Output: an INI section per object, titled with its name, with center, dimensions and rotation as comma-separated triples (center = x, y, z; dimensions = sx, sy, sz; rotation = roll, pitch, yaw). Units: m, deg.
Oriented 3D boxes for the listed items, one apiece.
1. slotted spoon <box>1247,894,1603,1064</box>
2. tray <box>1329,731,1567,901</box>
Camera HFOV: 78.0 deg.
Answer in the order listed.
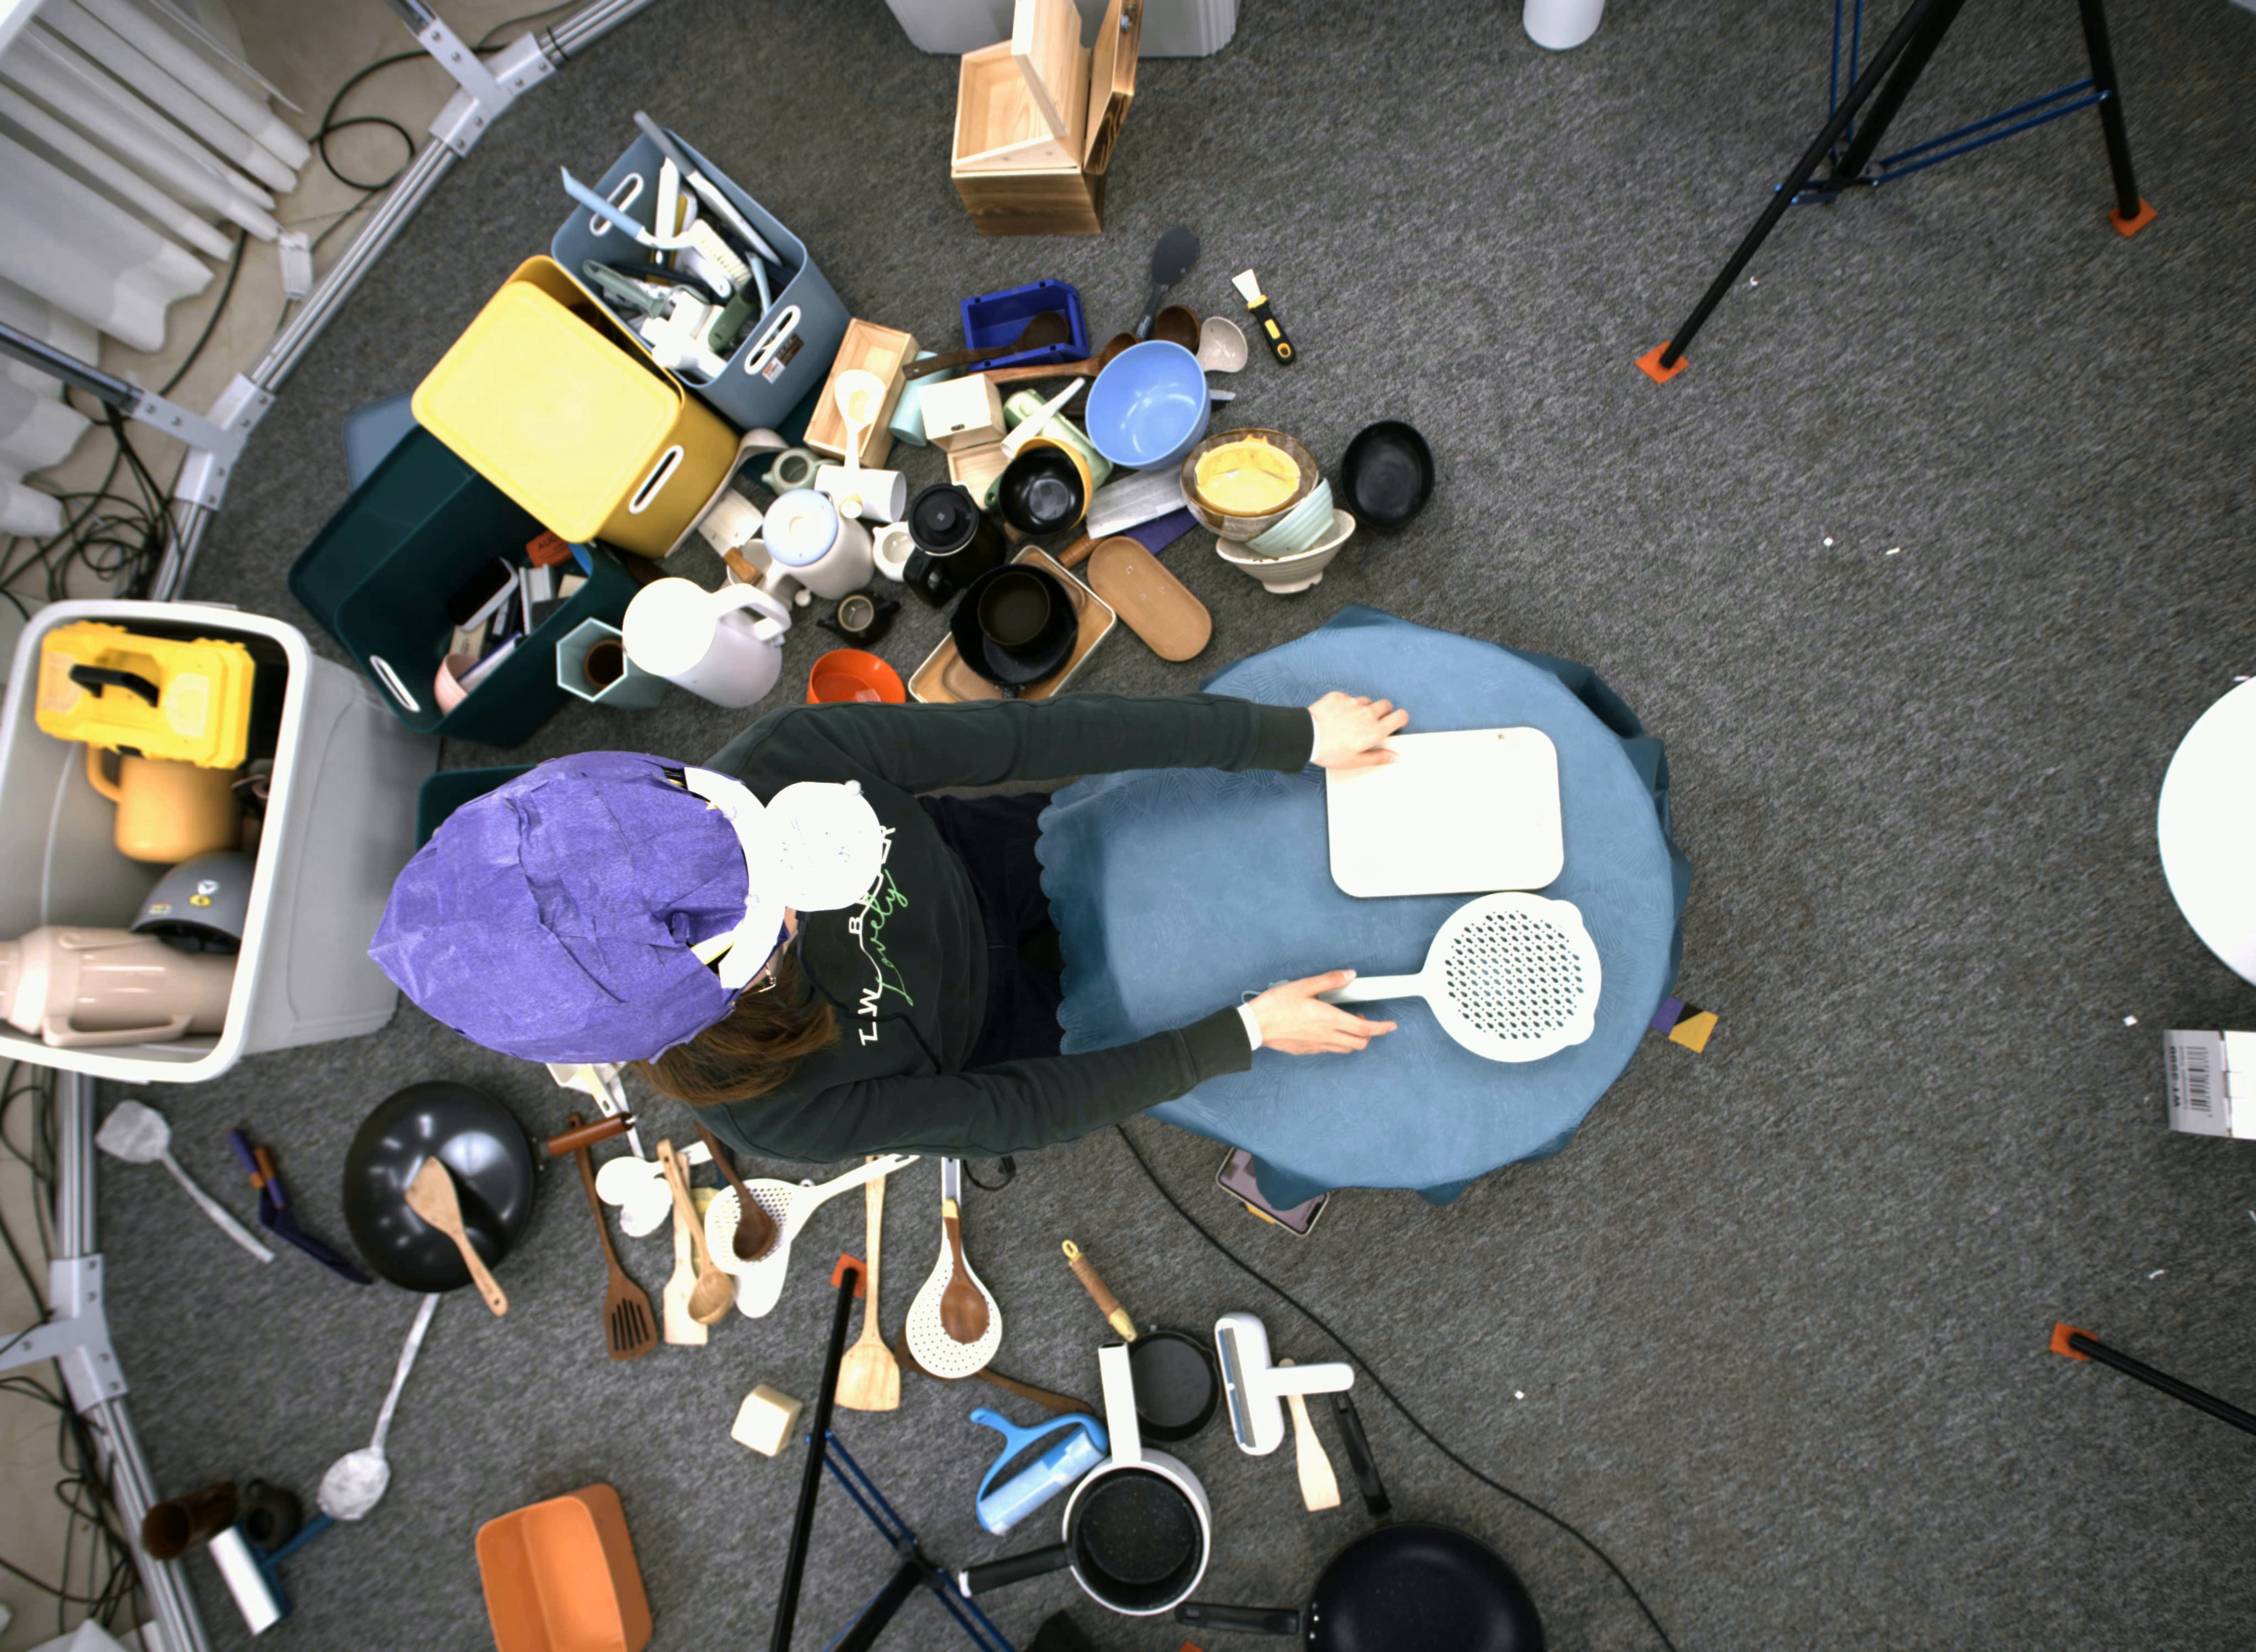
[slotted spoon]
center = 0.298, 0.163, 1.422
dimensions = 0.360, 0.075, 0.168
rotation = -6, 84, 10
[tray]
center = 0.335, -0.012, 1.450
dimensions = 0.241, 0.017, 0.170
rotation = -3, 85, 11
